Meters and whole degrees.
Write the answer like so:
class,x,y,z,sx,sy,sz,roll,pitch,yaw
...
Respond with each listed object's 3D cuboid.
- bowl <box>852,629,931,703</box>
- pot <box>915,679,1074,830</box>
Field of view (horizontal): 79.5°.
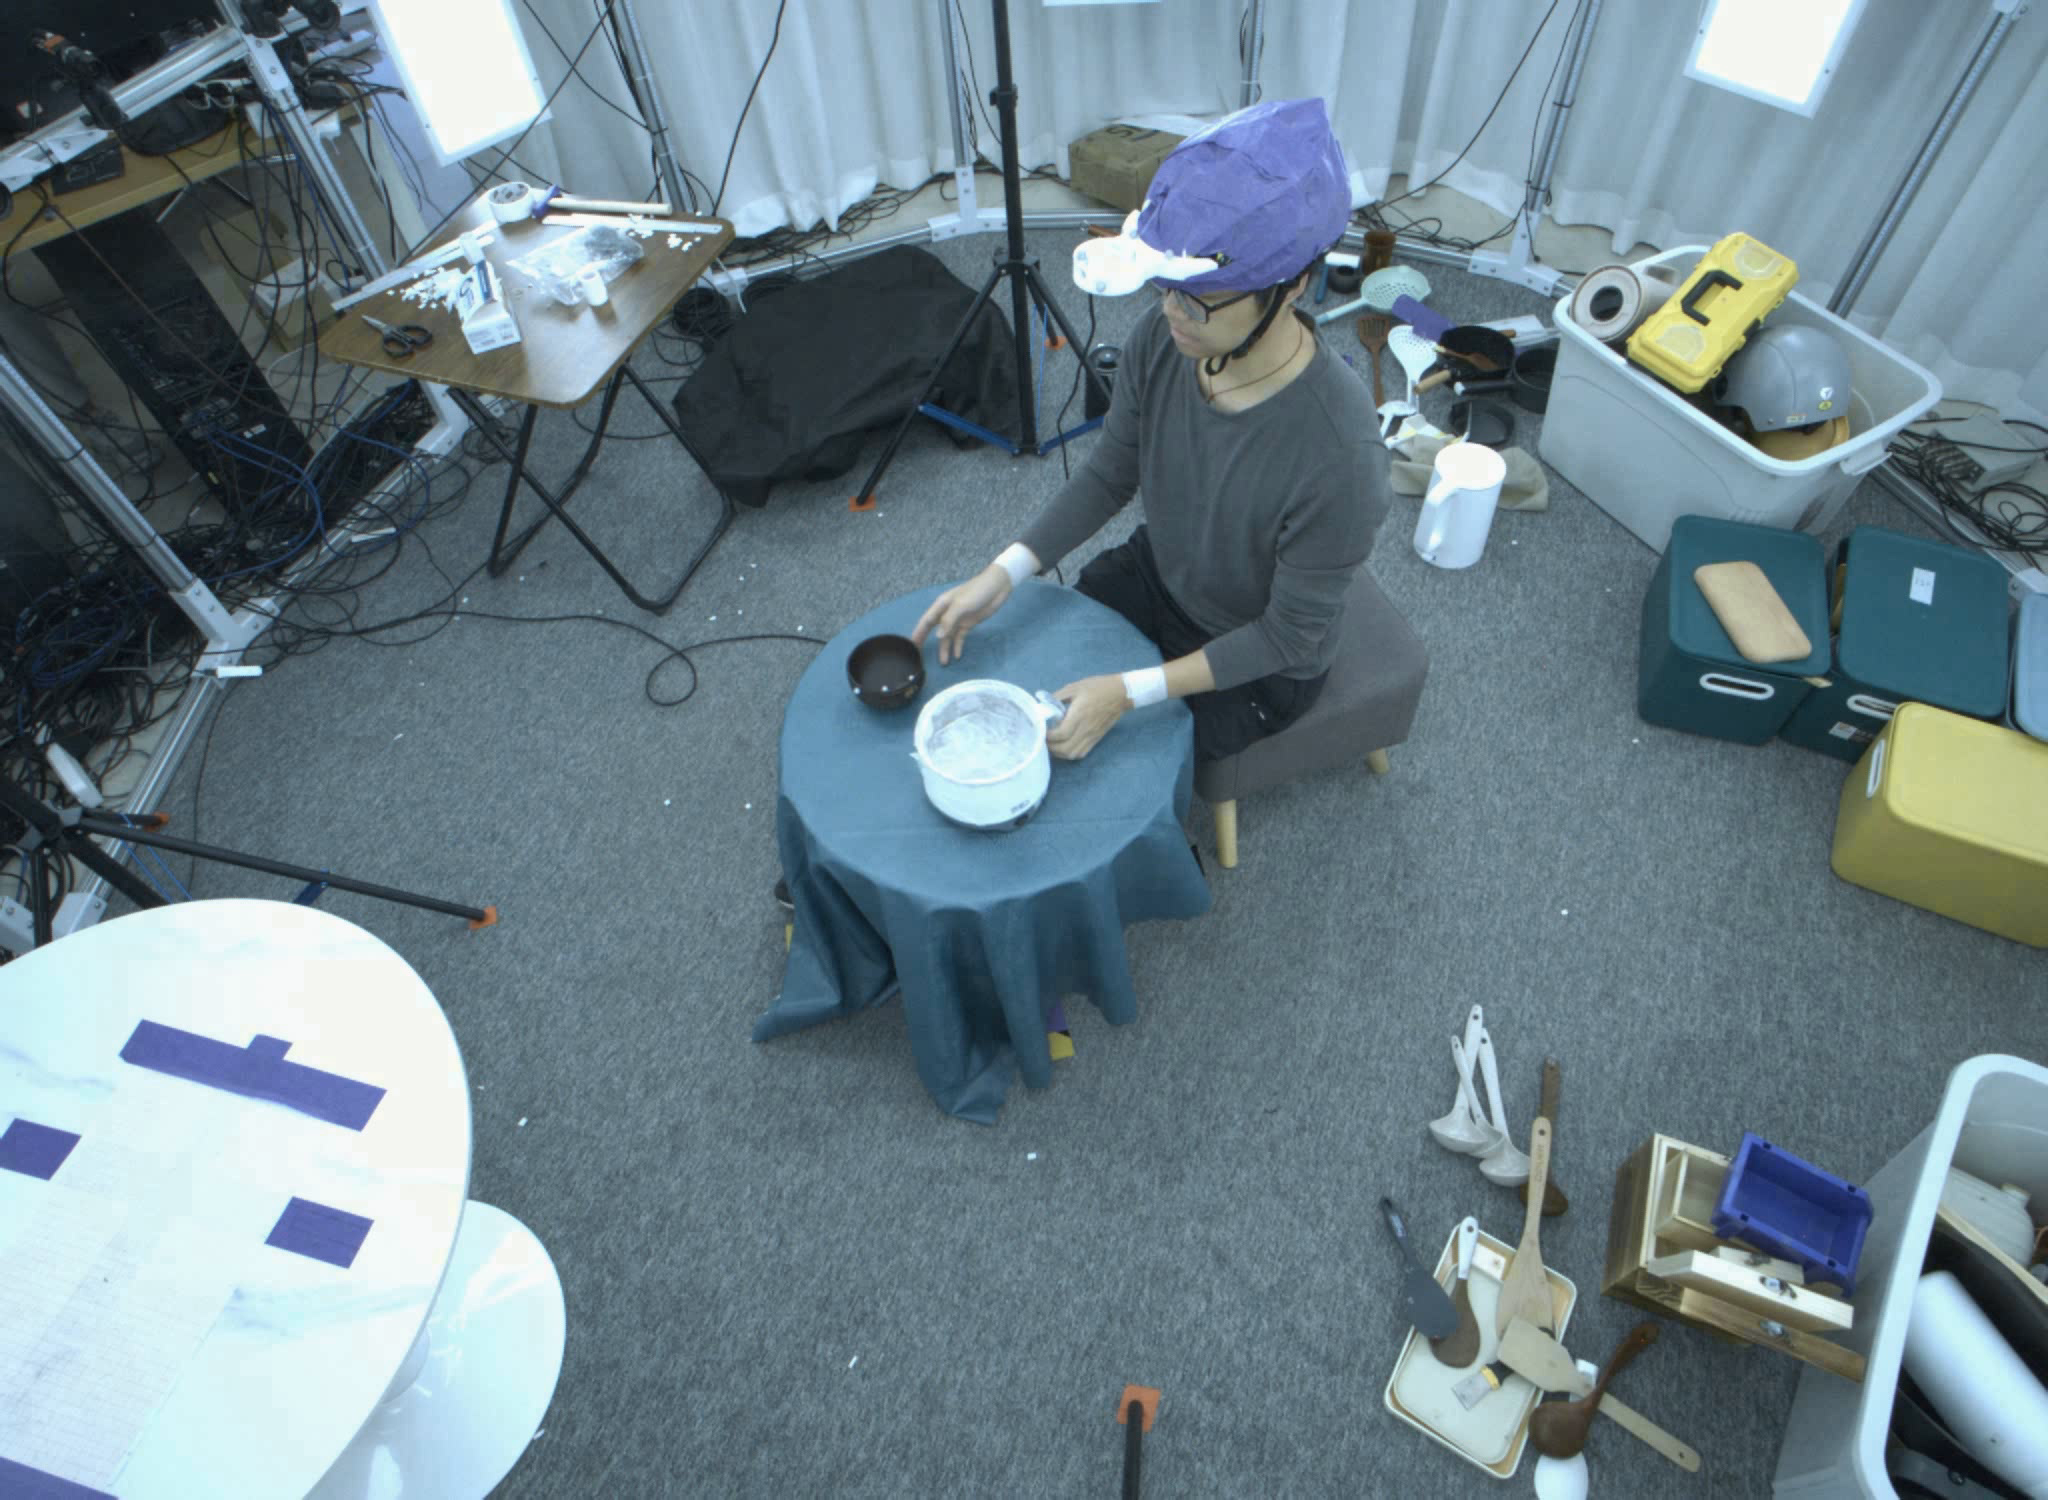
class,x,y,z,sx,sy,sz,roll,pitch,yaw
bowl,-0.200,-0.118,1.846,0.118,0.070,0.117,3,50,-3
pot,-0.032,-0.003,1.713,0.235,0.138,0.175,-31,59,-19
